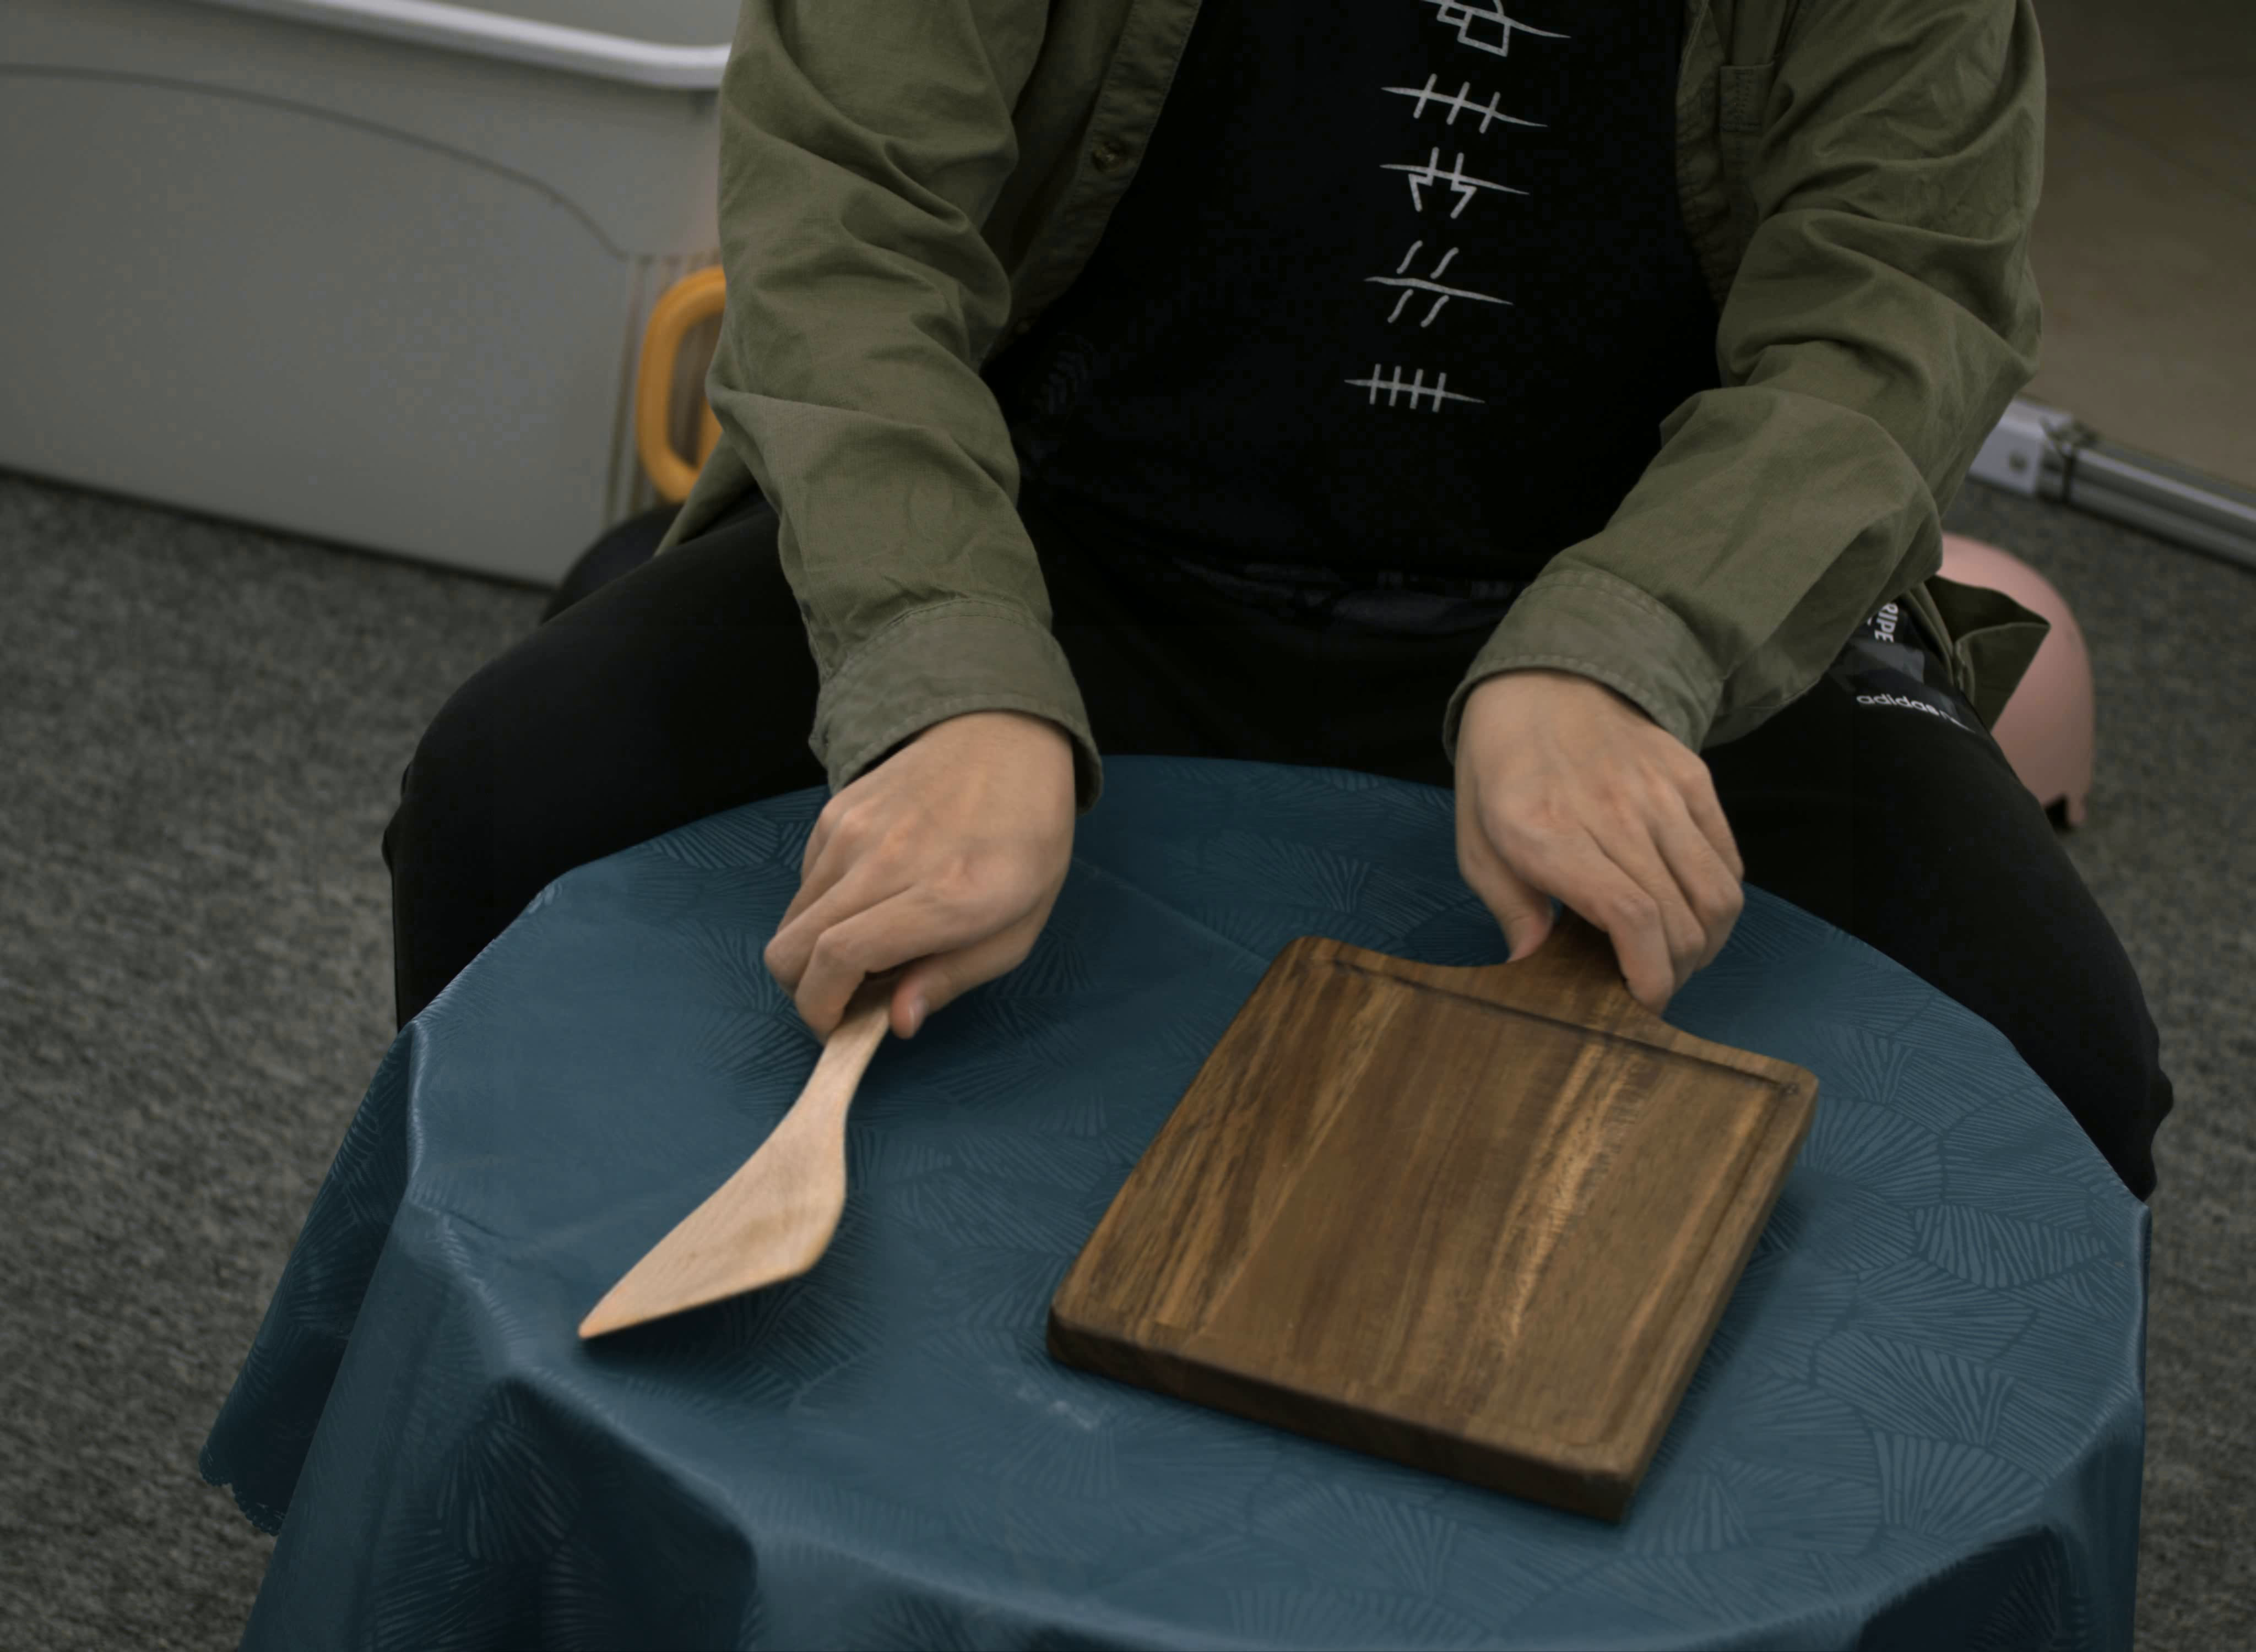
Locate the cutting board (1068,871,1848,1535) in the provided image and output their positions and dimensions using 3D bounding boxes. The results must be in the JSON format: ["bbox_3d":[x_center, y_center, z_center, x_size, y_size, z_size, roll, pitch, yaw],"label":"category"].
[{"bbox_3d":[0.132,0.108,1.802,0.201,0.023,0.352,15,33,16],"label":"cutting board"}]

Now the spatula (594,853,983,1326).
[{"bbox_3d":[-0.098,0.082,1.806,0.080,0.016,0.328,-14,23,20],"label":"spatula"}]
